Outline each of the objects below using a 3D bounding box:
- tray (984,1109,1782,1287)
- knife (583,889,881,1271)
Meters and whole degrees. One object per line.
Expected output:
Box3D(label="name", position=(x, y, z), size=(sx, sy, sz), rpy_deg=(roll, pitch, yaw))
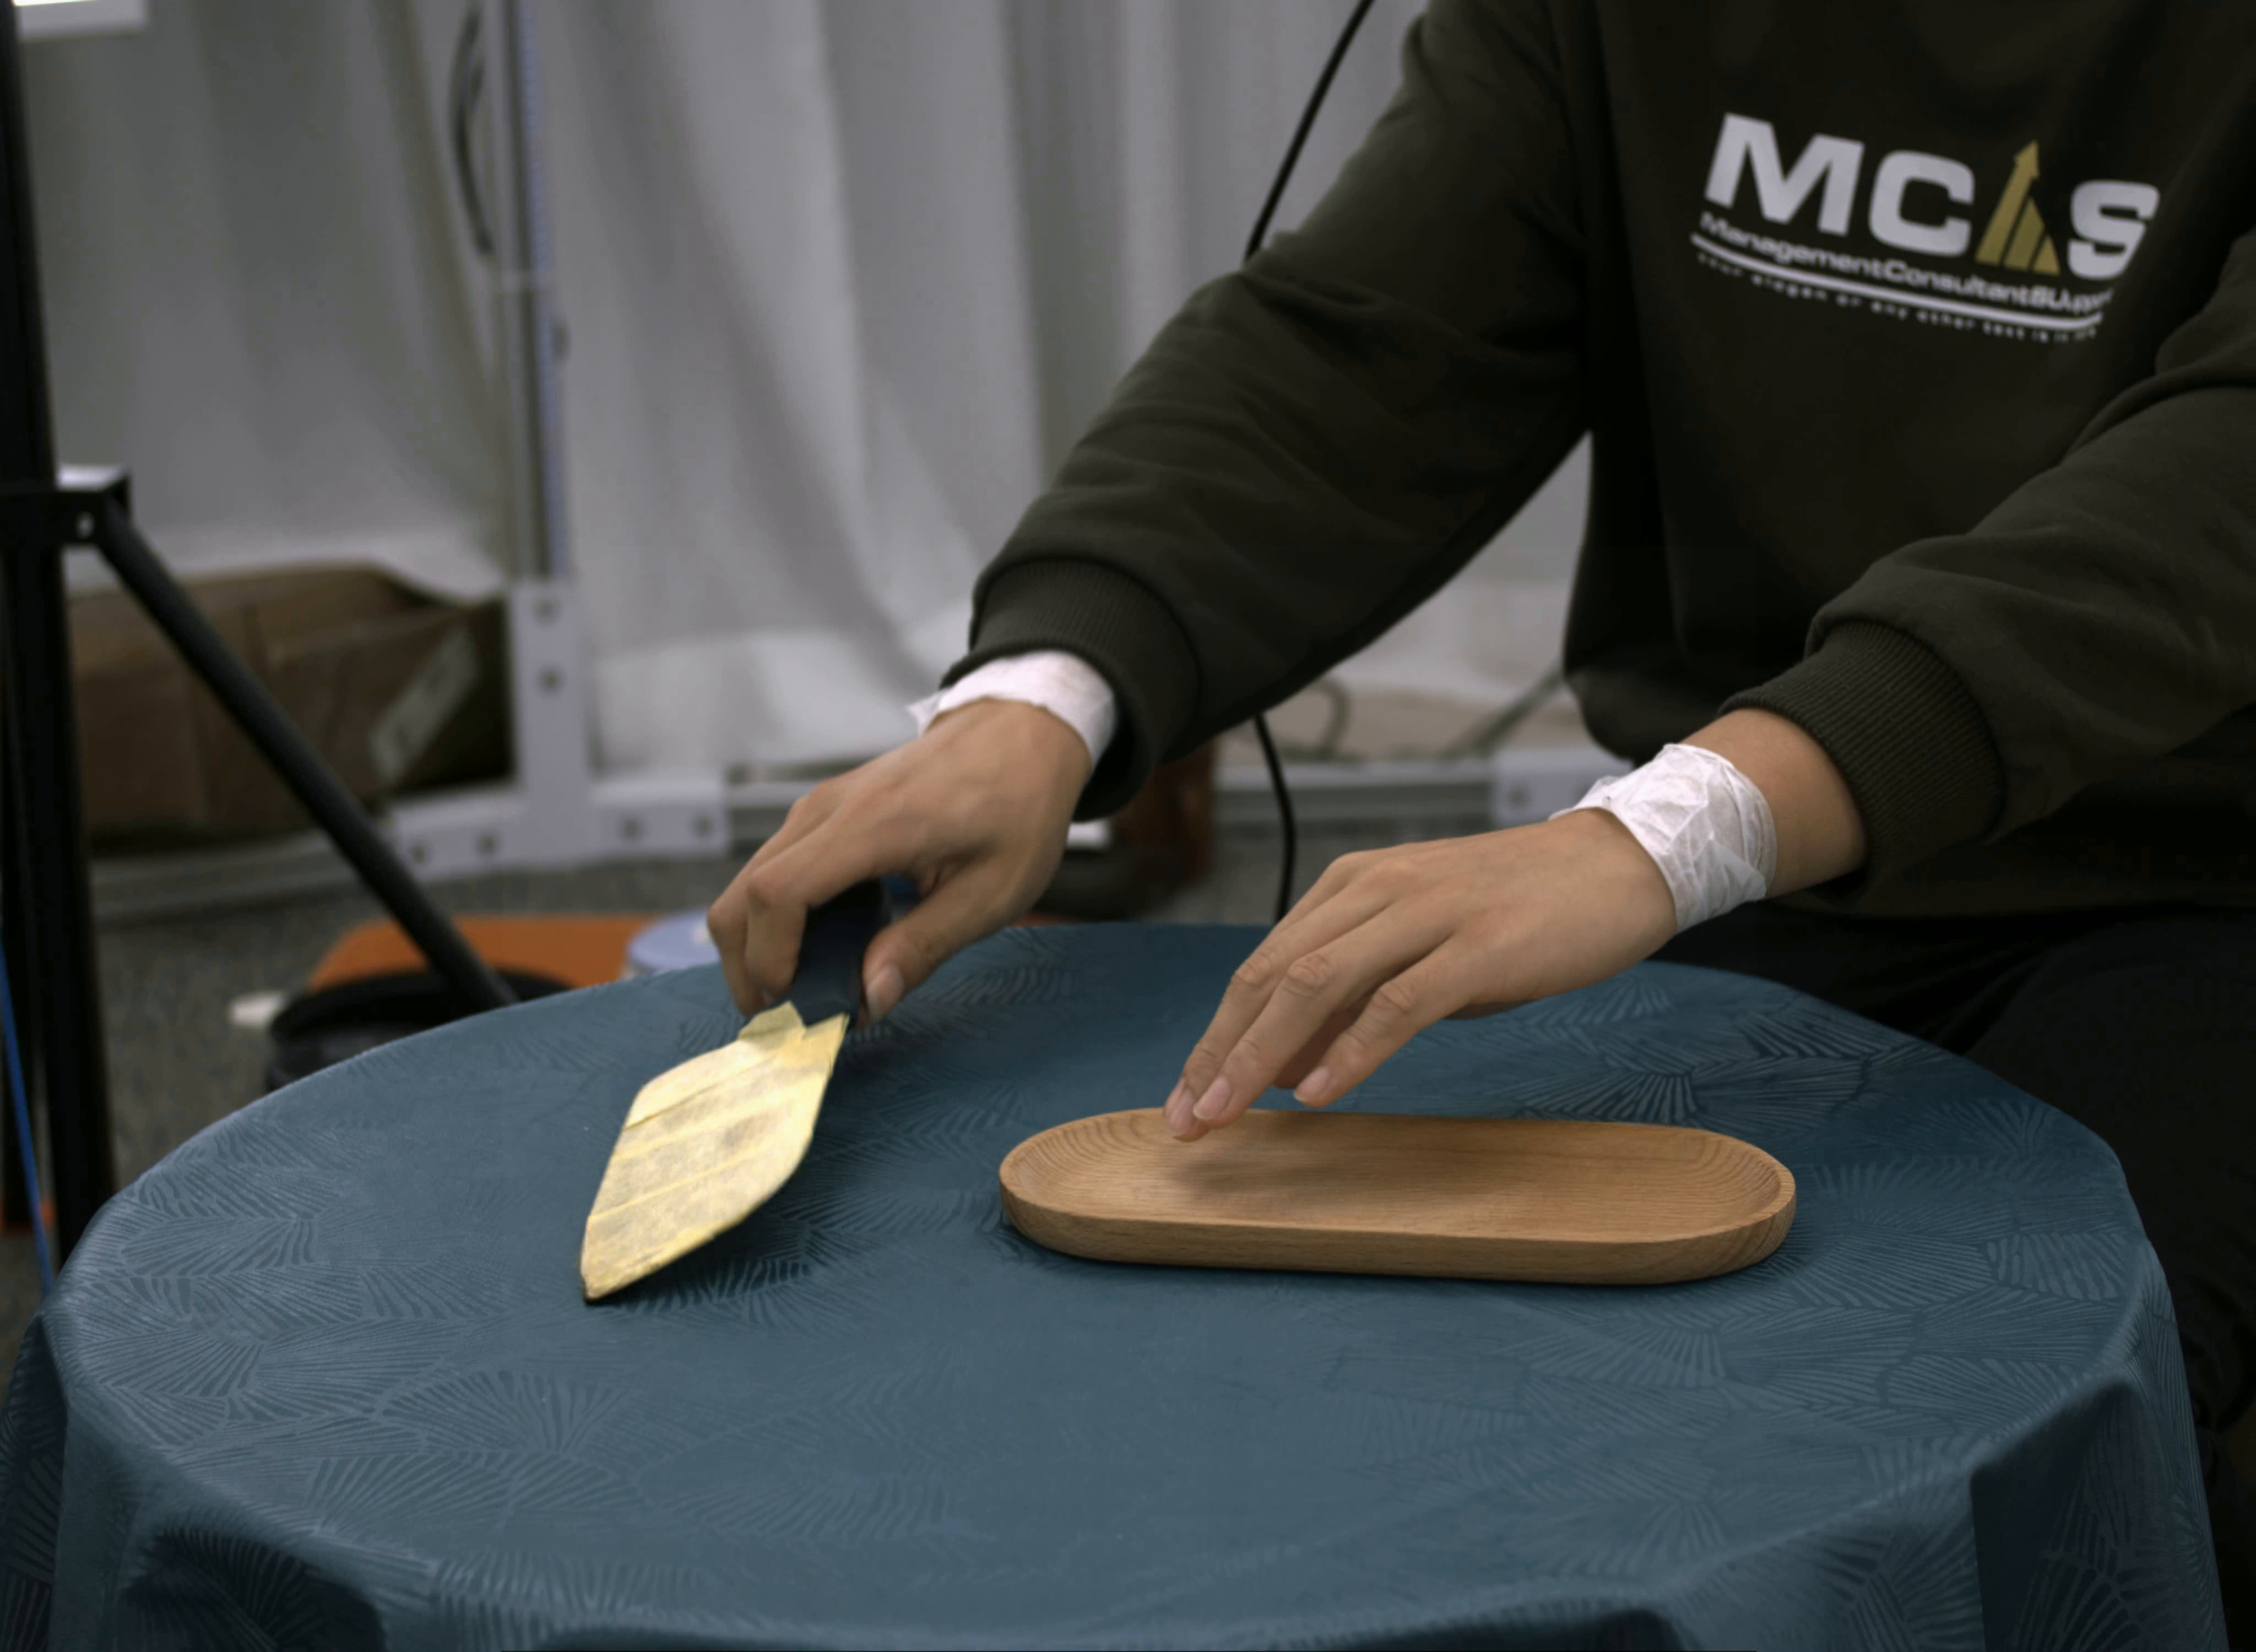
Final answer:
Box3D(label="tray", position=(0.073, 0.107, 1.524), size=(0.233, 0.020, 0.101), rpy_deg=(0, 15, 15))
Box3D(label="knife", position=(-0.118, 0.077, 1.623), size=(0.081, 0.027, 0.289), rpy_deg=(-15, 16, 12))
